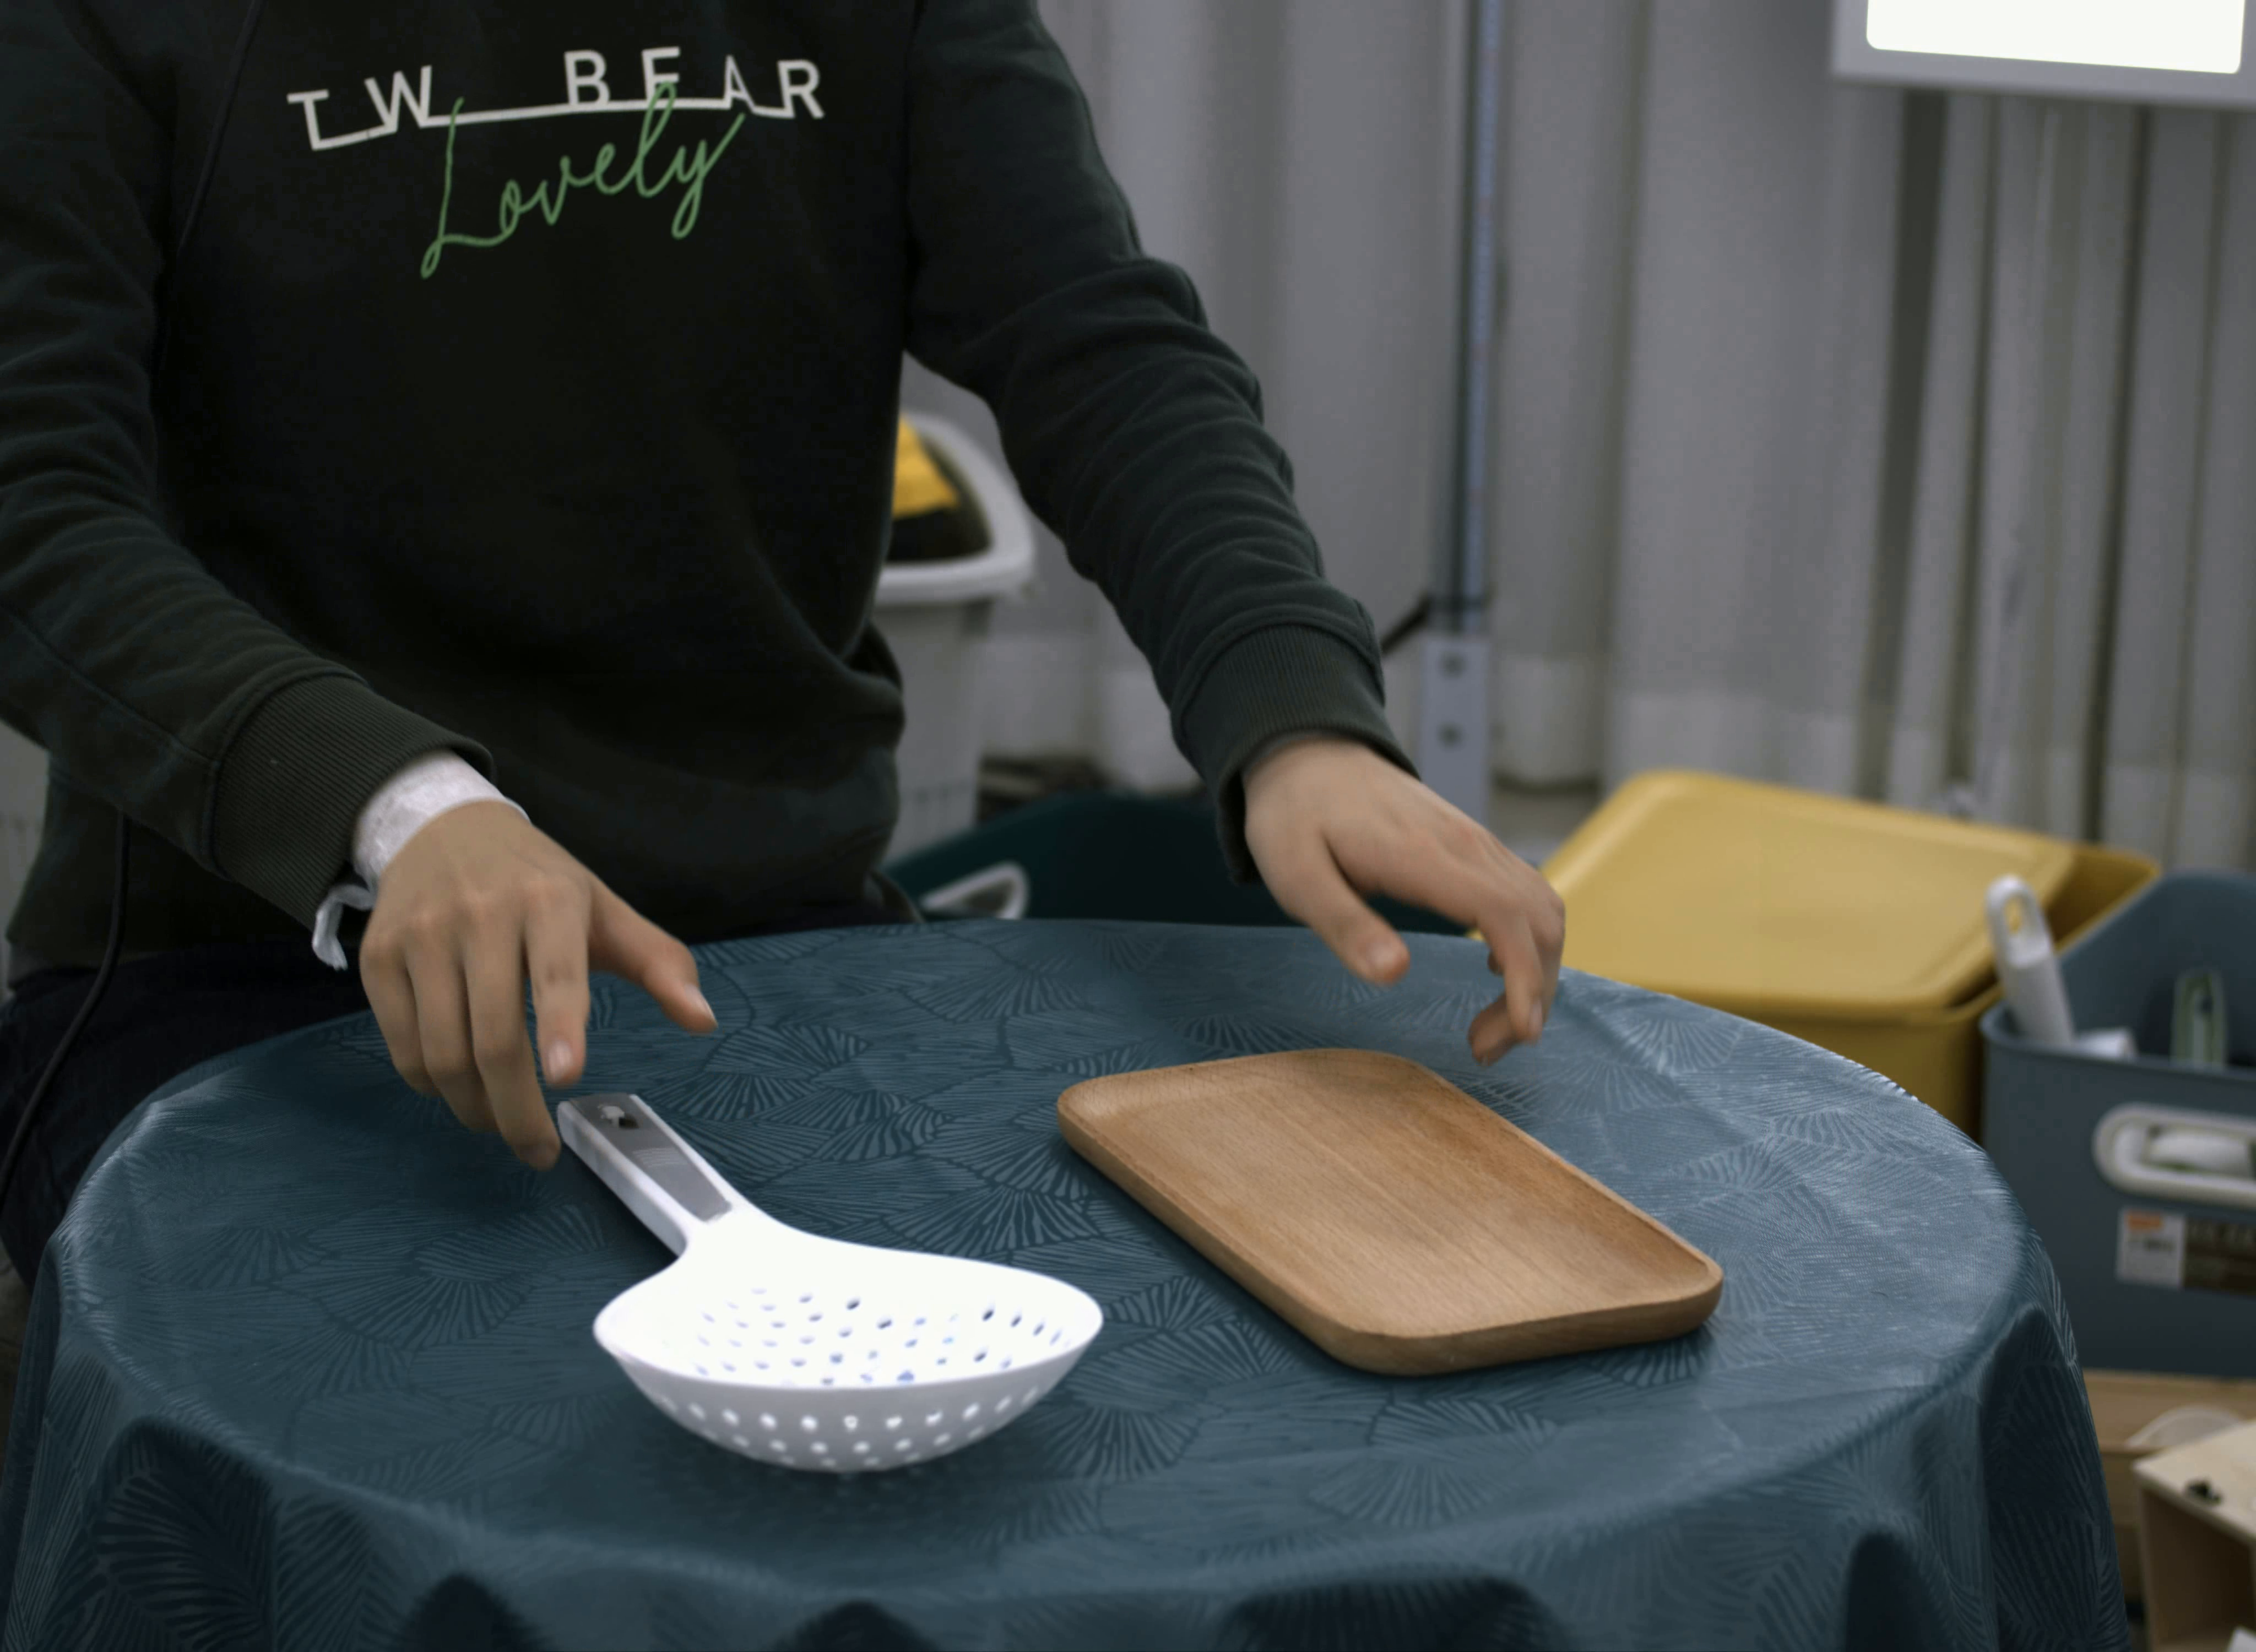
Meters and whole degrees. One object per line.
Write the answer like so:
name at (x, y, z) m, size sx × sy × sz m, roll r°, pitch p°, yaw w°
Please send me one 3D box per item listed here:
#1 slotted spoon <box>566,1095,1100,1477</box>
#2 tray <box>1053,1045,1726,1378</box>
slotted spoon at (-0.111, 0.122, 1.506) m, size 0.136 × 0.046 × 0.346 m, roll -2°, pitch 15°, yaw -19°
tray at (0.074, 0.114, 1.596) m, size 0.131 × 0.023 × 0.248 m, roll -4°, pitch 16°, yaw -22°
